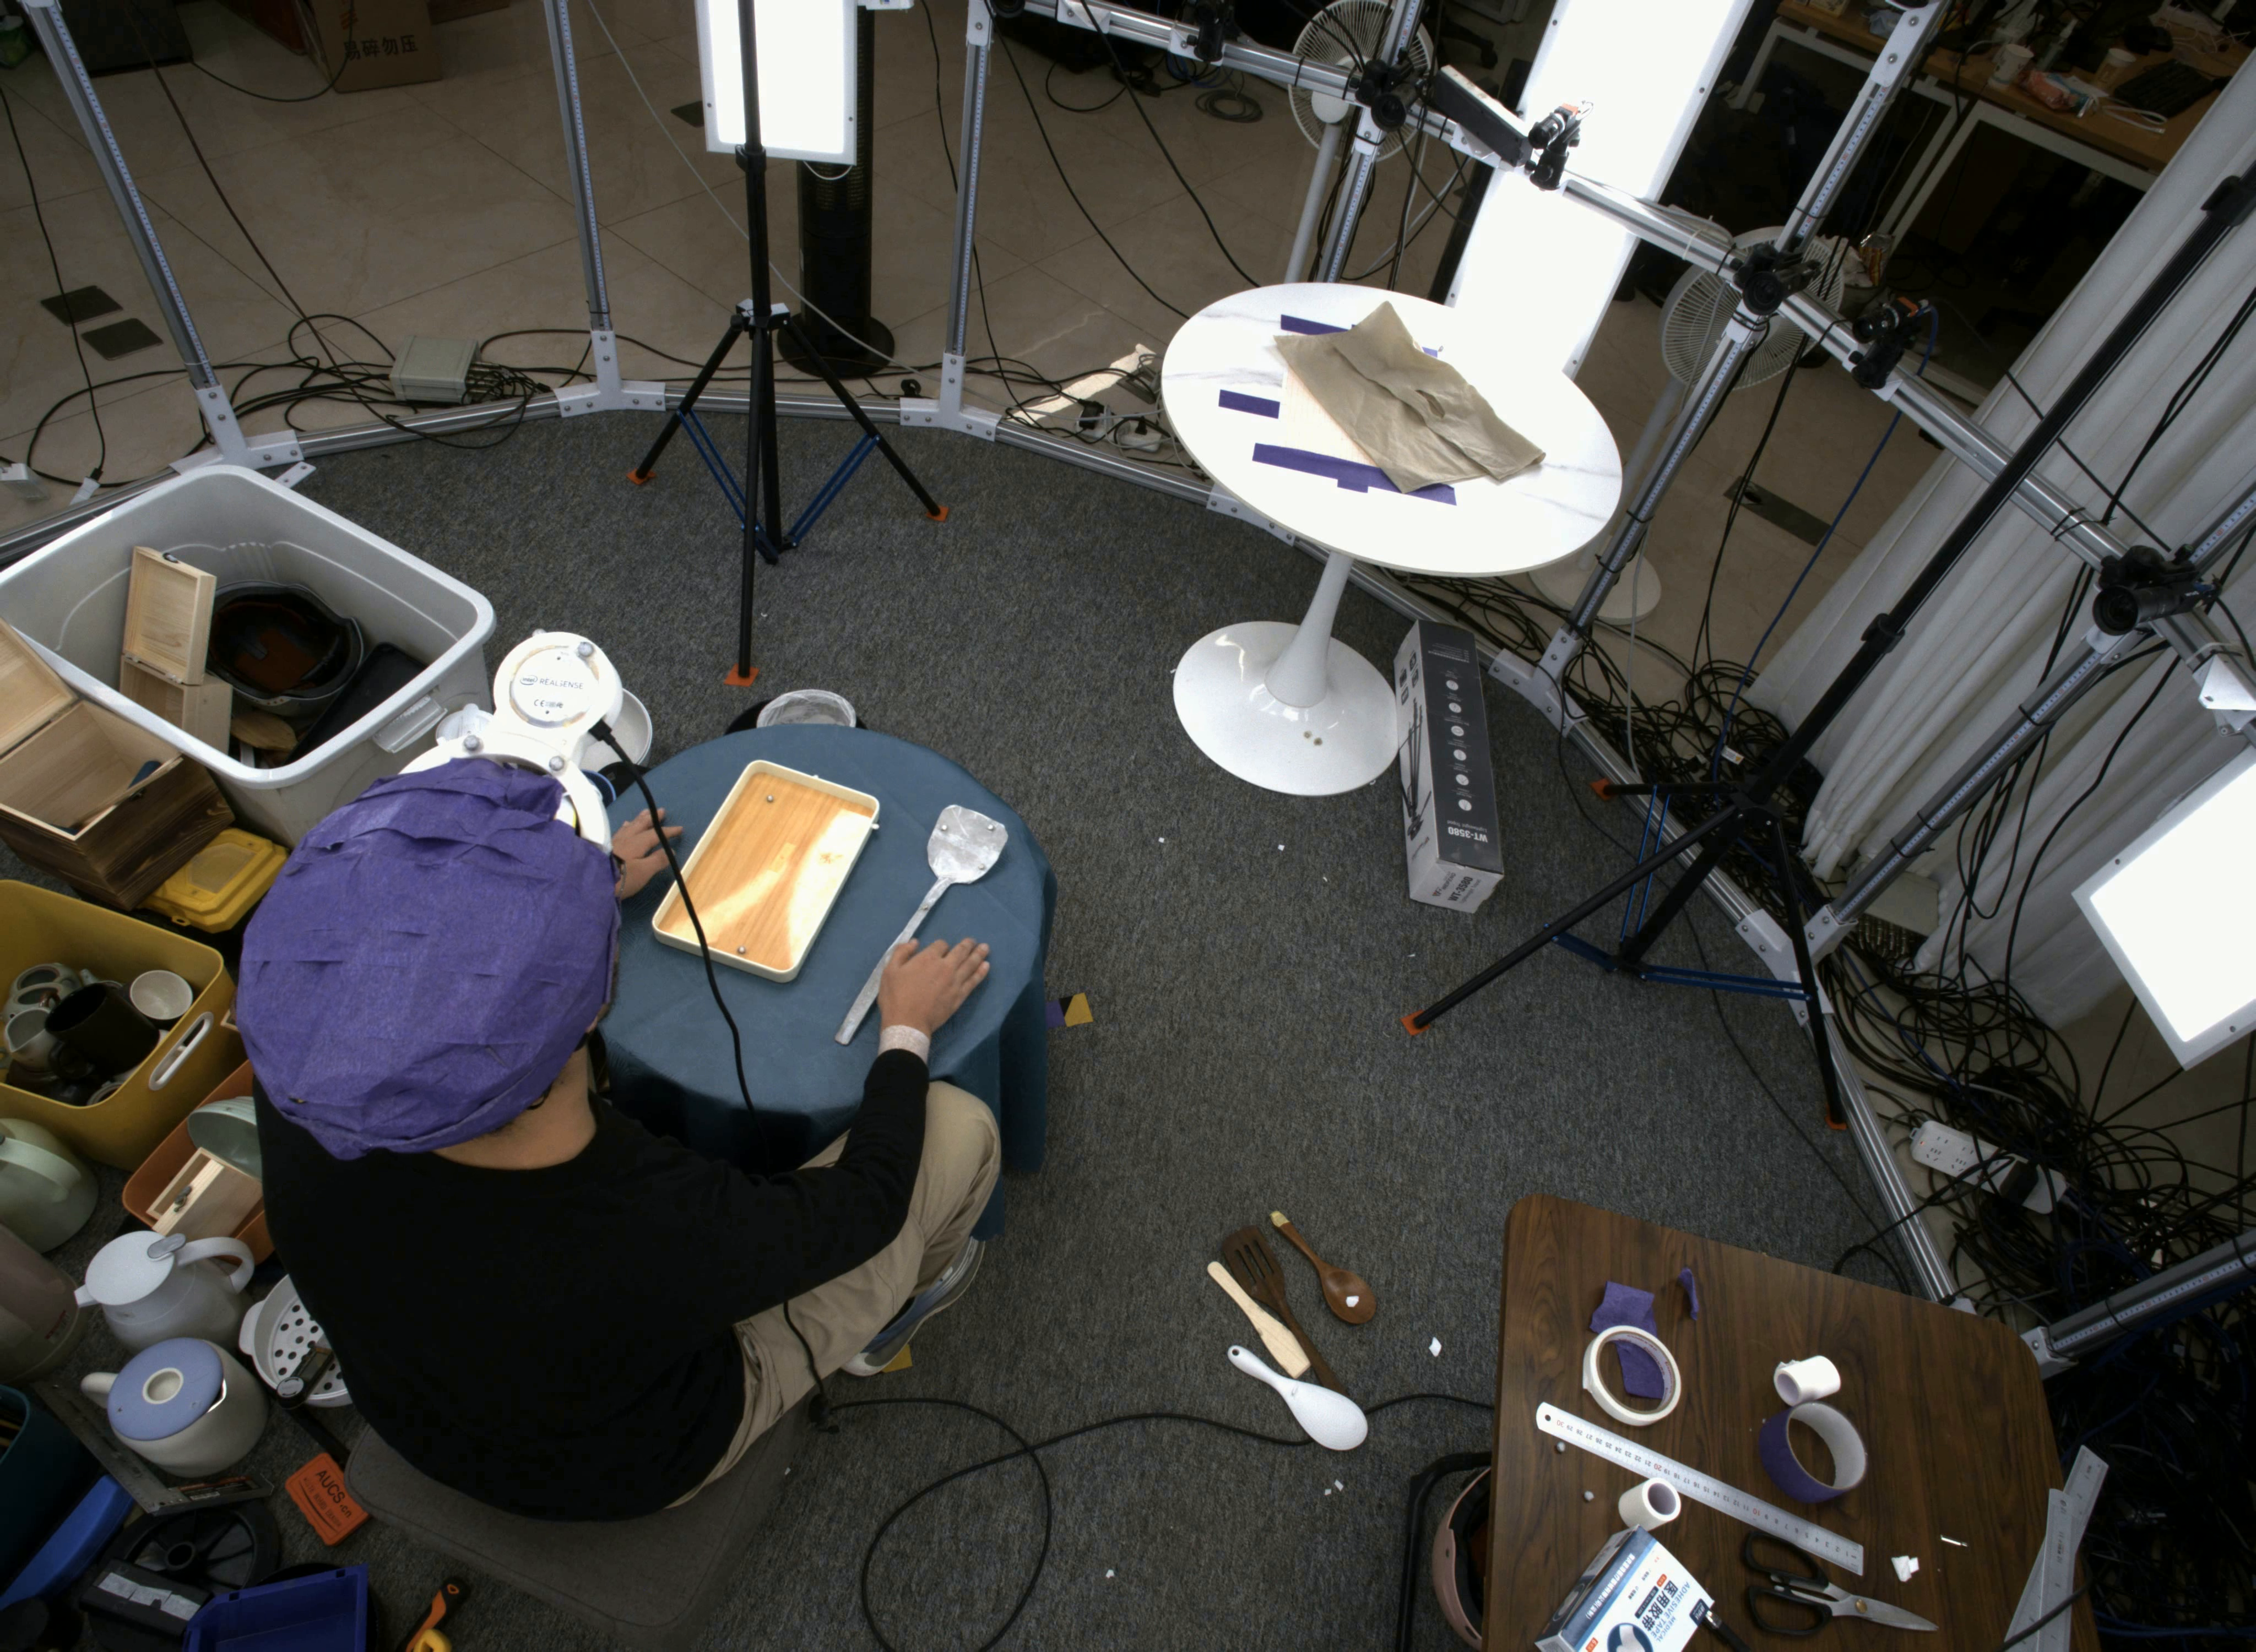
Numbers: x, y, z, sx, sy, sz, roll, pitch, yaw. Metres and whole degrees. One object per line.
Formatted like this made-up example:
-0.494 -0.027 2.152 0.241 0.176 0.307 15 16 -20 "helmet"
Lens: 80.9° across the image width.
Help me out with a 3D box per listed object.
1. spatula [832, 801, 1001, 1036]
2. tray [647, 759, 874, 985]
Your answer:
-0.275 0.114 1.648 0.097 0.045 0.362 25 51 4 "spatula"
-0.463 0.051 1.653 0.190 0.028 0.297 19 52 0 "tray"
